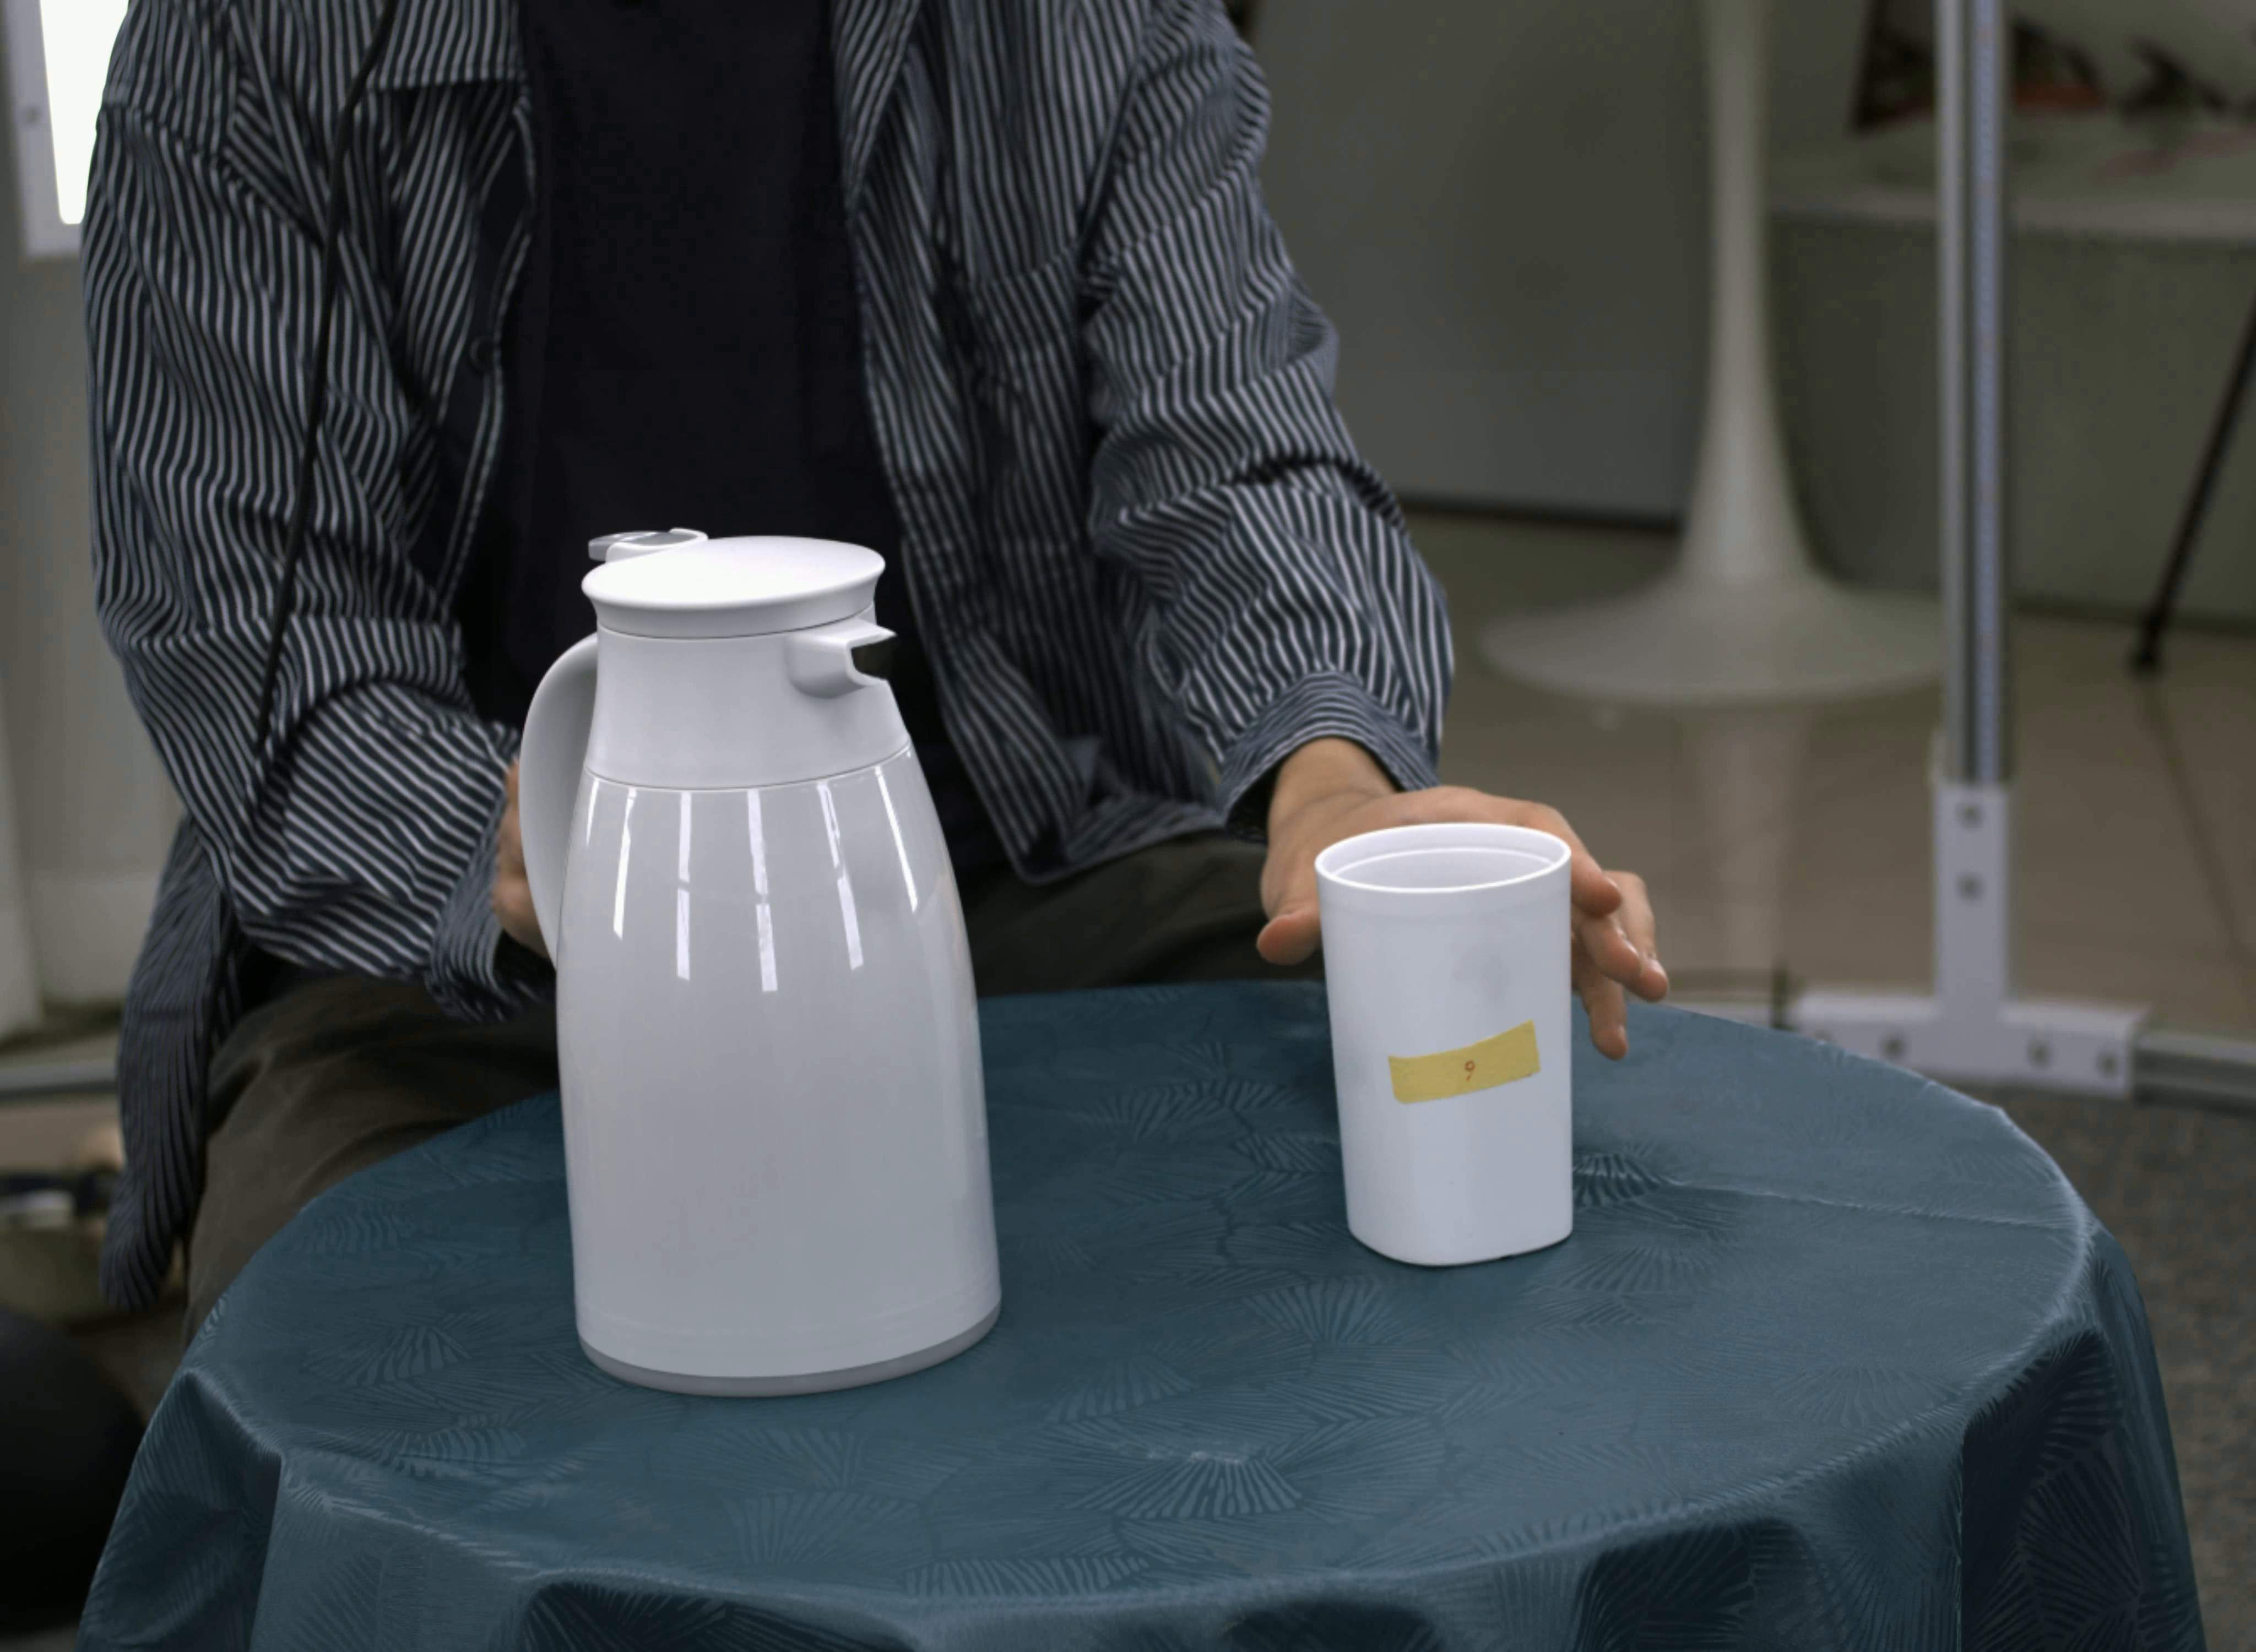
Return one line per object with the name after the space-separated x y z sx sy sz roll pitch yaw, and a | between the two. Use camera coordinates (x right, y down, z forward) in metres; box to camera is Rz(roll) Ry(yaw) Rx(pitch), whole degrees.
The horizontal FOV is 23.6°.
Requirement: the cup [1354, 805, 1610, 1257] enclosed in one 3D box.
0.114 0.065 1.692 0.080 0.127 0.082 -4 13 0 | cup

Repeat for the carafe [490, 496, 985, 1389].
-0.128 0.027 1.646 0.169 0.251 0.130 10 21 39 | carafe
